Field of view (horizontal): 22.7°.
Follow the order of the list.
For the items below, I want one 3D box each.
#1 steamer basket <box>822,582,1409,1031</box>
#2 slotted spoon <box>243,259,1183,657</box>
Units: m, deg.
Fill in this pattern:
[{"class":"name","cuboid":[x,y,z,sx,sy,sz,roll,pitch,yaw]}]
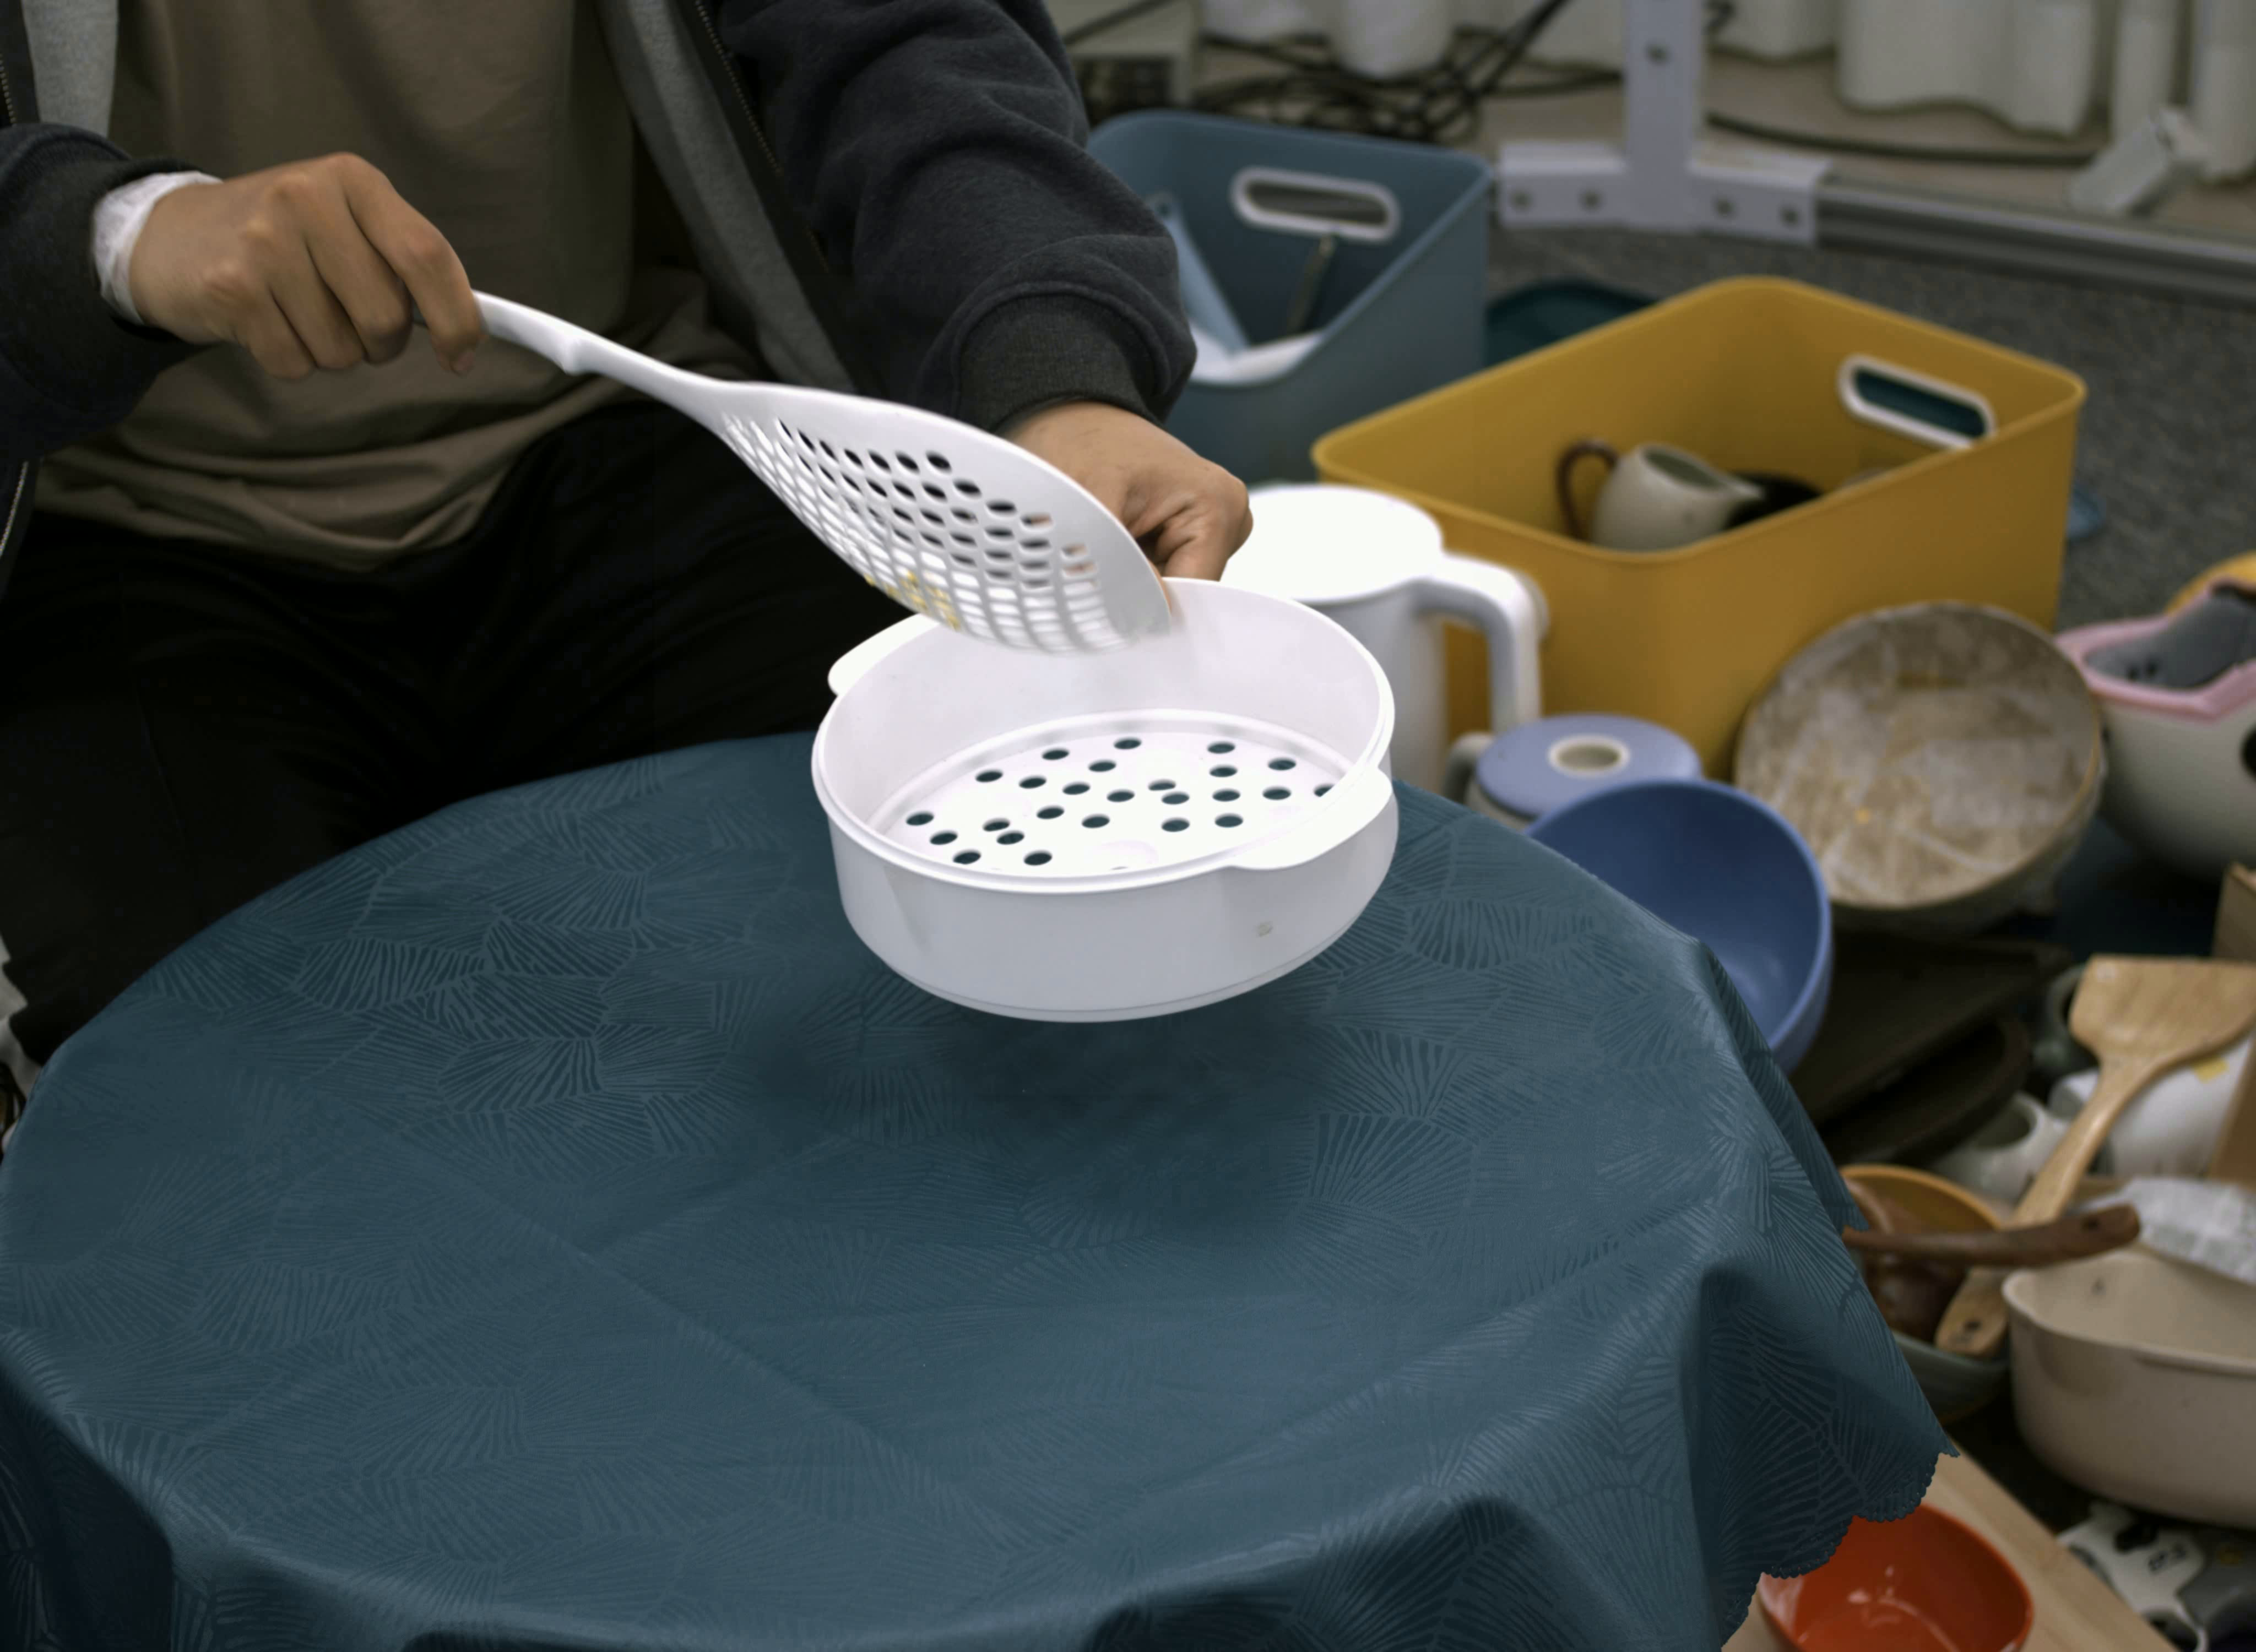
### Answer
[{"class":"steamer basket","cuboid":[-0.003,-0.006,1.927,0.230,0.068,0.204,24,42,37]},{"class":"slotted spoon","cuboid":[-0.141,-0.131,1.872,0.347,0.135,0.051,27,75,20]}]
